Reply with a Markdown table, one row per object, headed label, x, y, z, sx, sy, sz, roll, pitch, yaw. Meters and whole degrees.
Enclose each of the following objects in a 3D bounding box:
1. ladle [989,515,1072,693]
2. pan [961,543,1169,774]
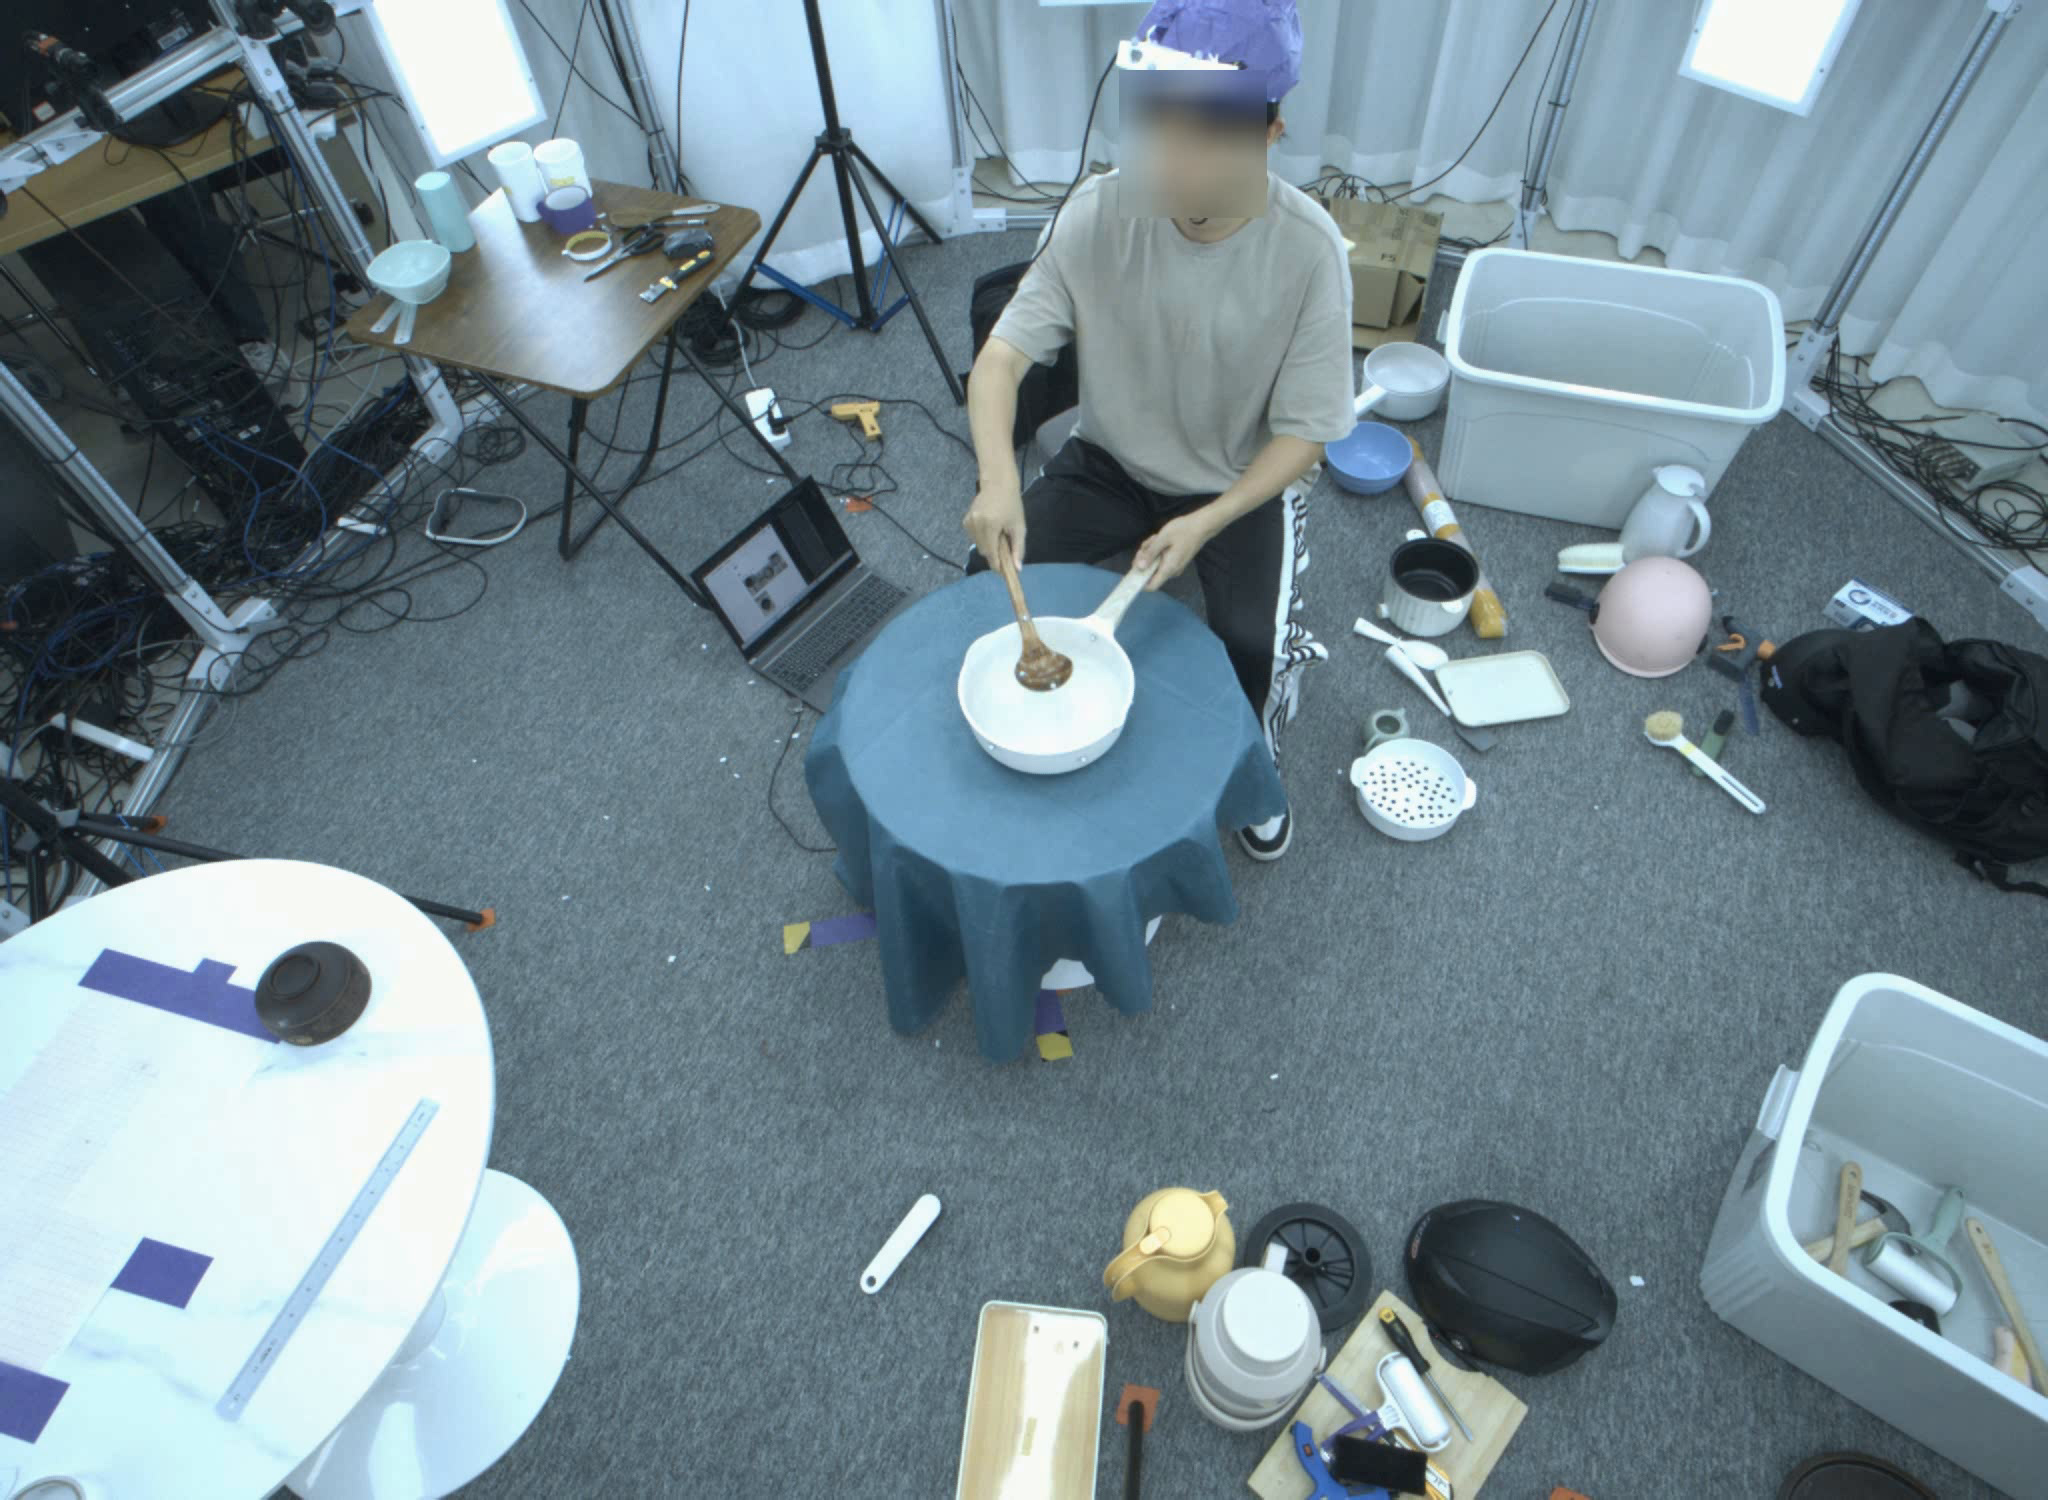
| label | x | y | z | sx | sy | sz | roll | pitch | yaw |
| --- | --- | --- | --- | --- | --- | --- | --- | --- | --- |
| ladle | -0.004 | -0.207 | 1.694 | 0.083 | 0.076 | 0.273 | -14 | 85 | -15 |
| pan | 0.092 | -0.138 | 1.818 | 0.259 | 0.103 | 0.437 | 29 | 61 | 23 |
